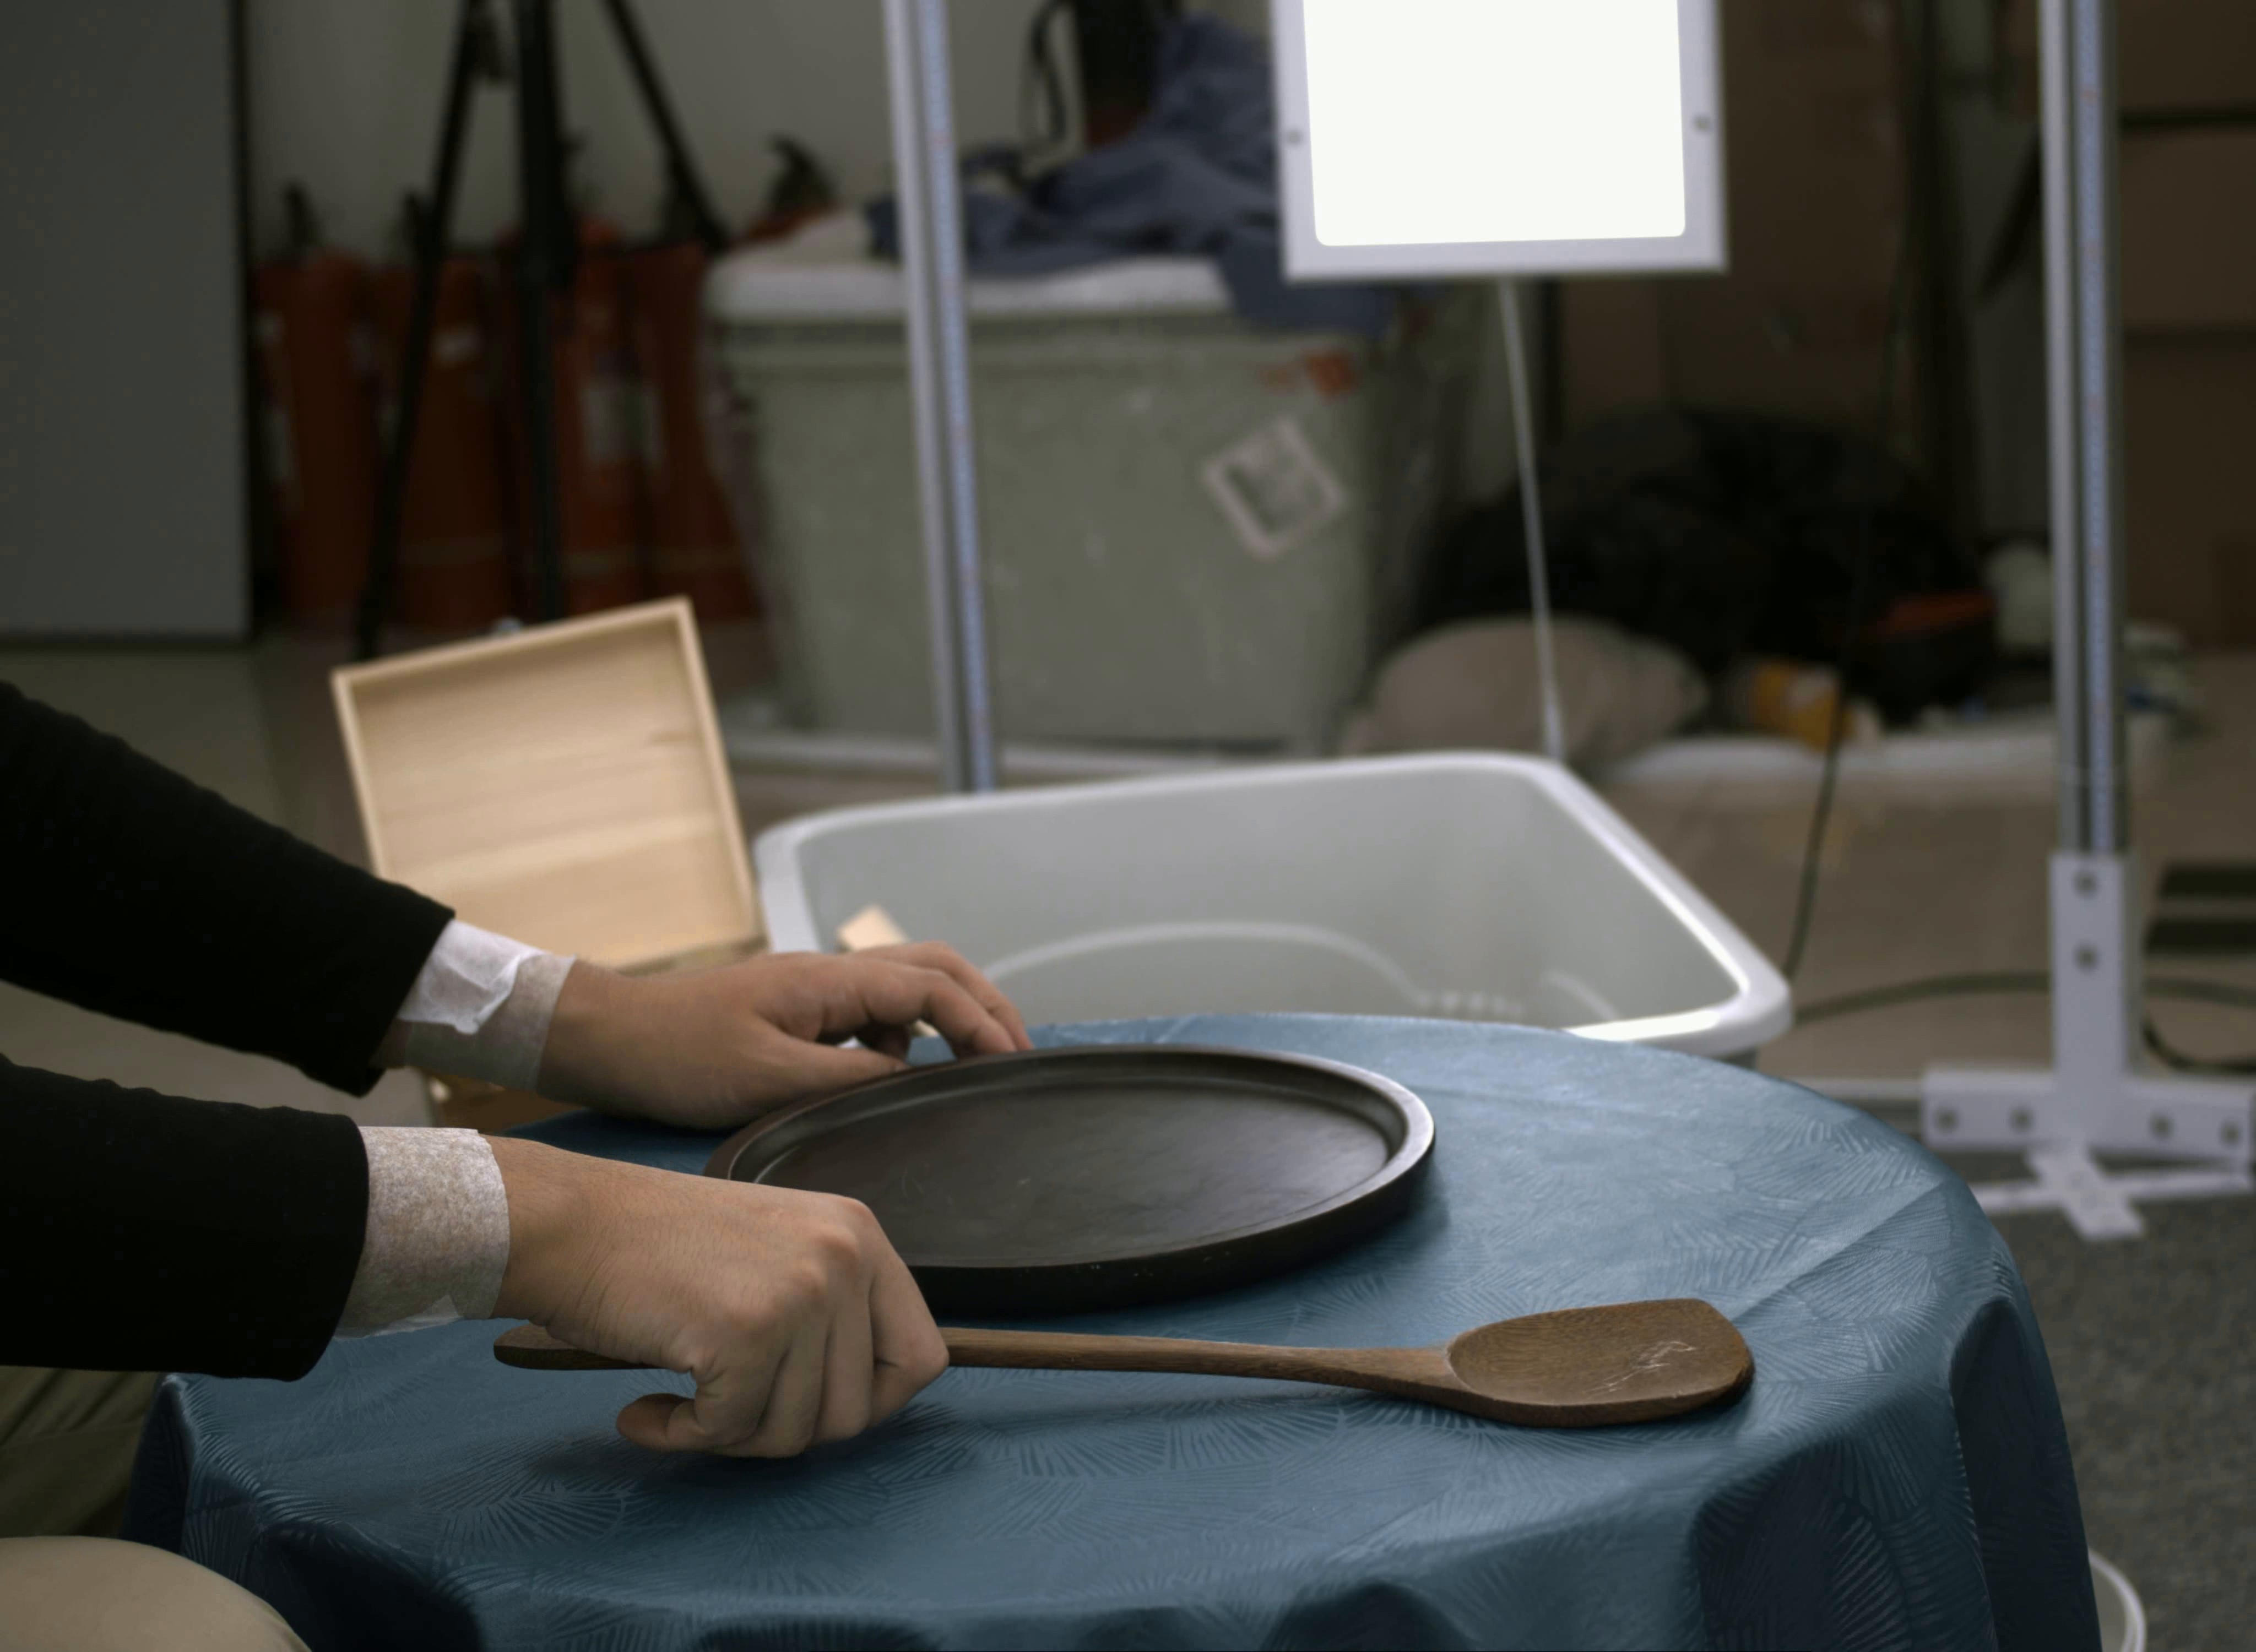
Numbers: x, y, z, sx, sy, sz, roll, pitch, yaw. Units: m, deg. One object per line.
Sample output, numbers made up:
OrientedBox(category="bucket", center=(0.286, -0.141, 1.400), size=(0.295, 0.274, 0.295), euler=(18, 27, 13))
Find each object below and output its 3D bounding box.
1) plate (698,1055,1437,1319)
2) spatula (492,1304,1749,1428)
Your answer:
OrientedBox(category="plate", center=(-0.021, 0.121, 1.885), size=(0.254, 0.029, 0.254), euler=(-4, 15, 0))
OrientedBox(category="spatula", center=(-0.003, 0.161, 1.684), size=(0.386, 0.016, 0.095), euler=(1, 14, 4))
